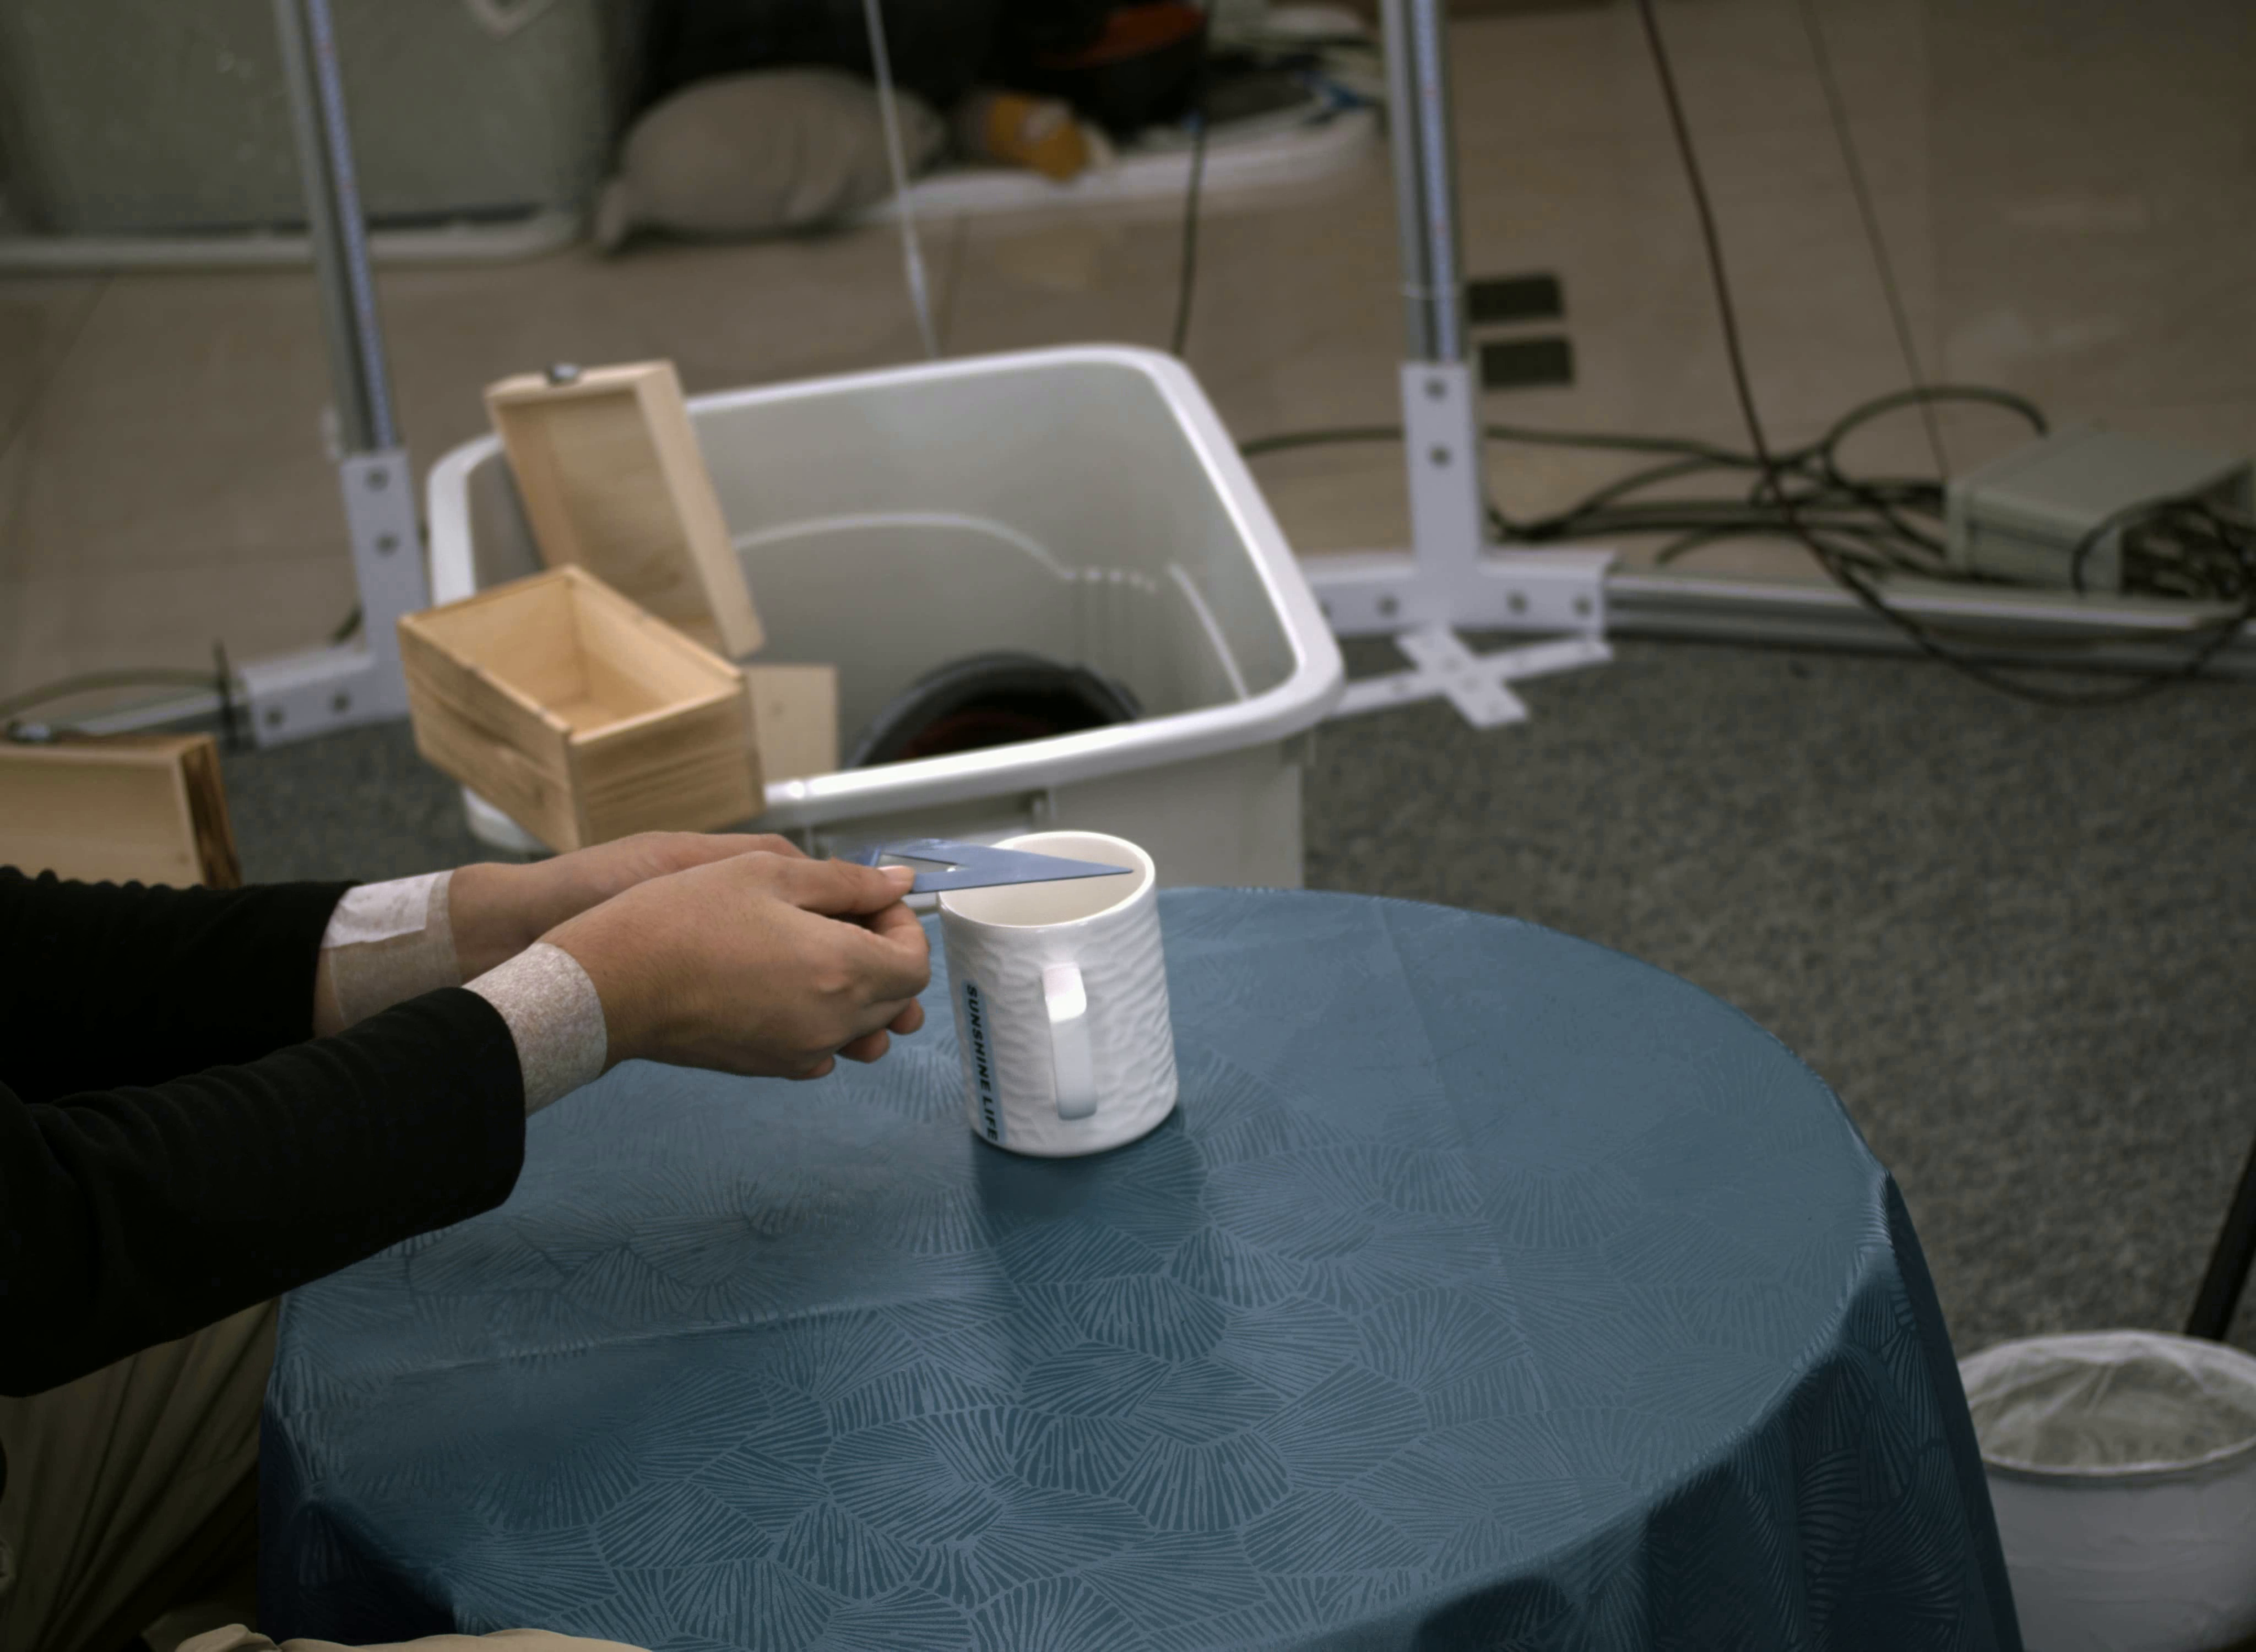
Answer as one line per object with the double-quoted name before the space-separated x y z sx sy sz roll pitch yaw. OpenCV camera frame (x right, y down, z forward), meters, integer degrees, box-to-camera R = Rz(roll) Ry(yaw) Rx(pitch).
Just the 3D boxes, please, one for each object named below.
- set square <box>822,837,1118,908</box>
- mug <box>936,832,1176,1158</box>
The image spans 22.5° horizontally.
"set square" -0.068 0.023 2.112 0.131 0.006 0.060 12 30 40
"mug" -0.025 0.072 2.175 0.085 0.103 0.116 -8 25 -3
